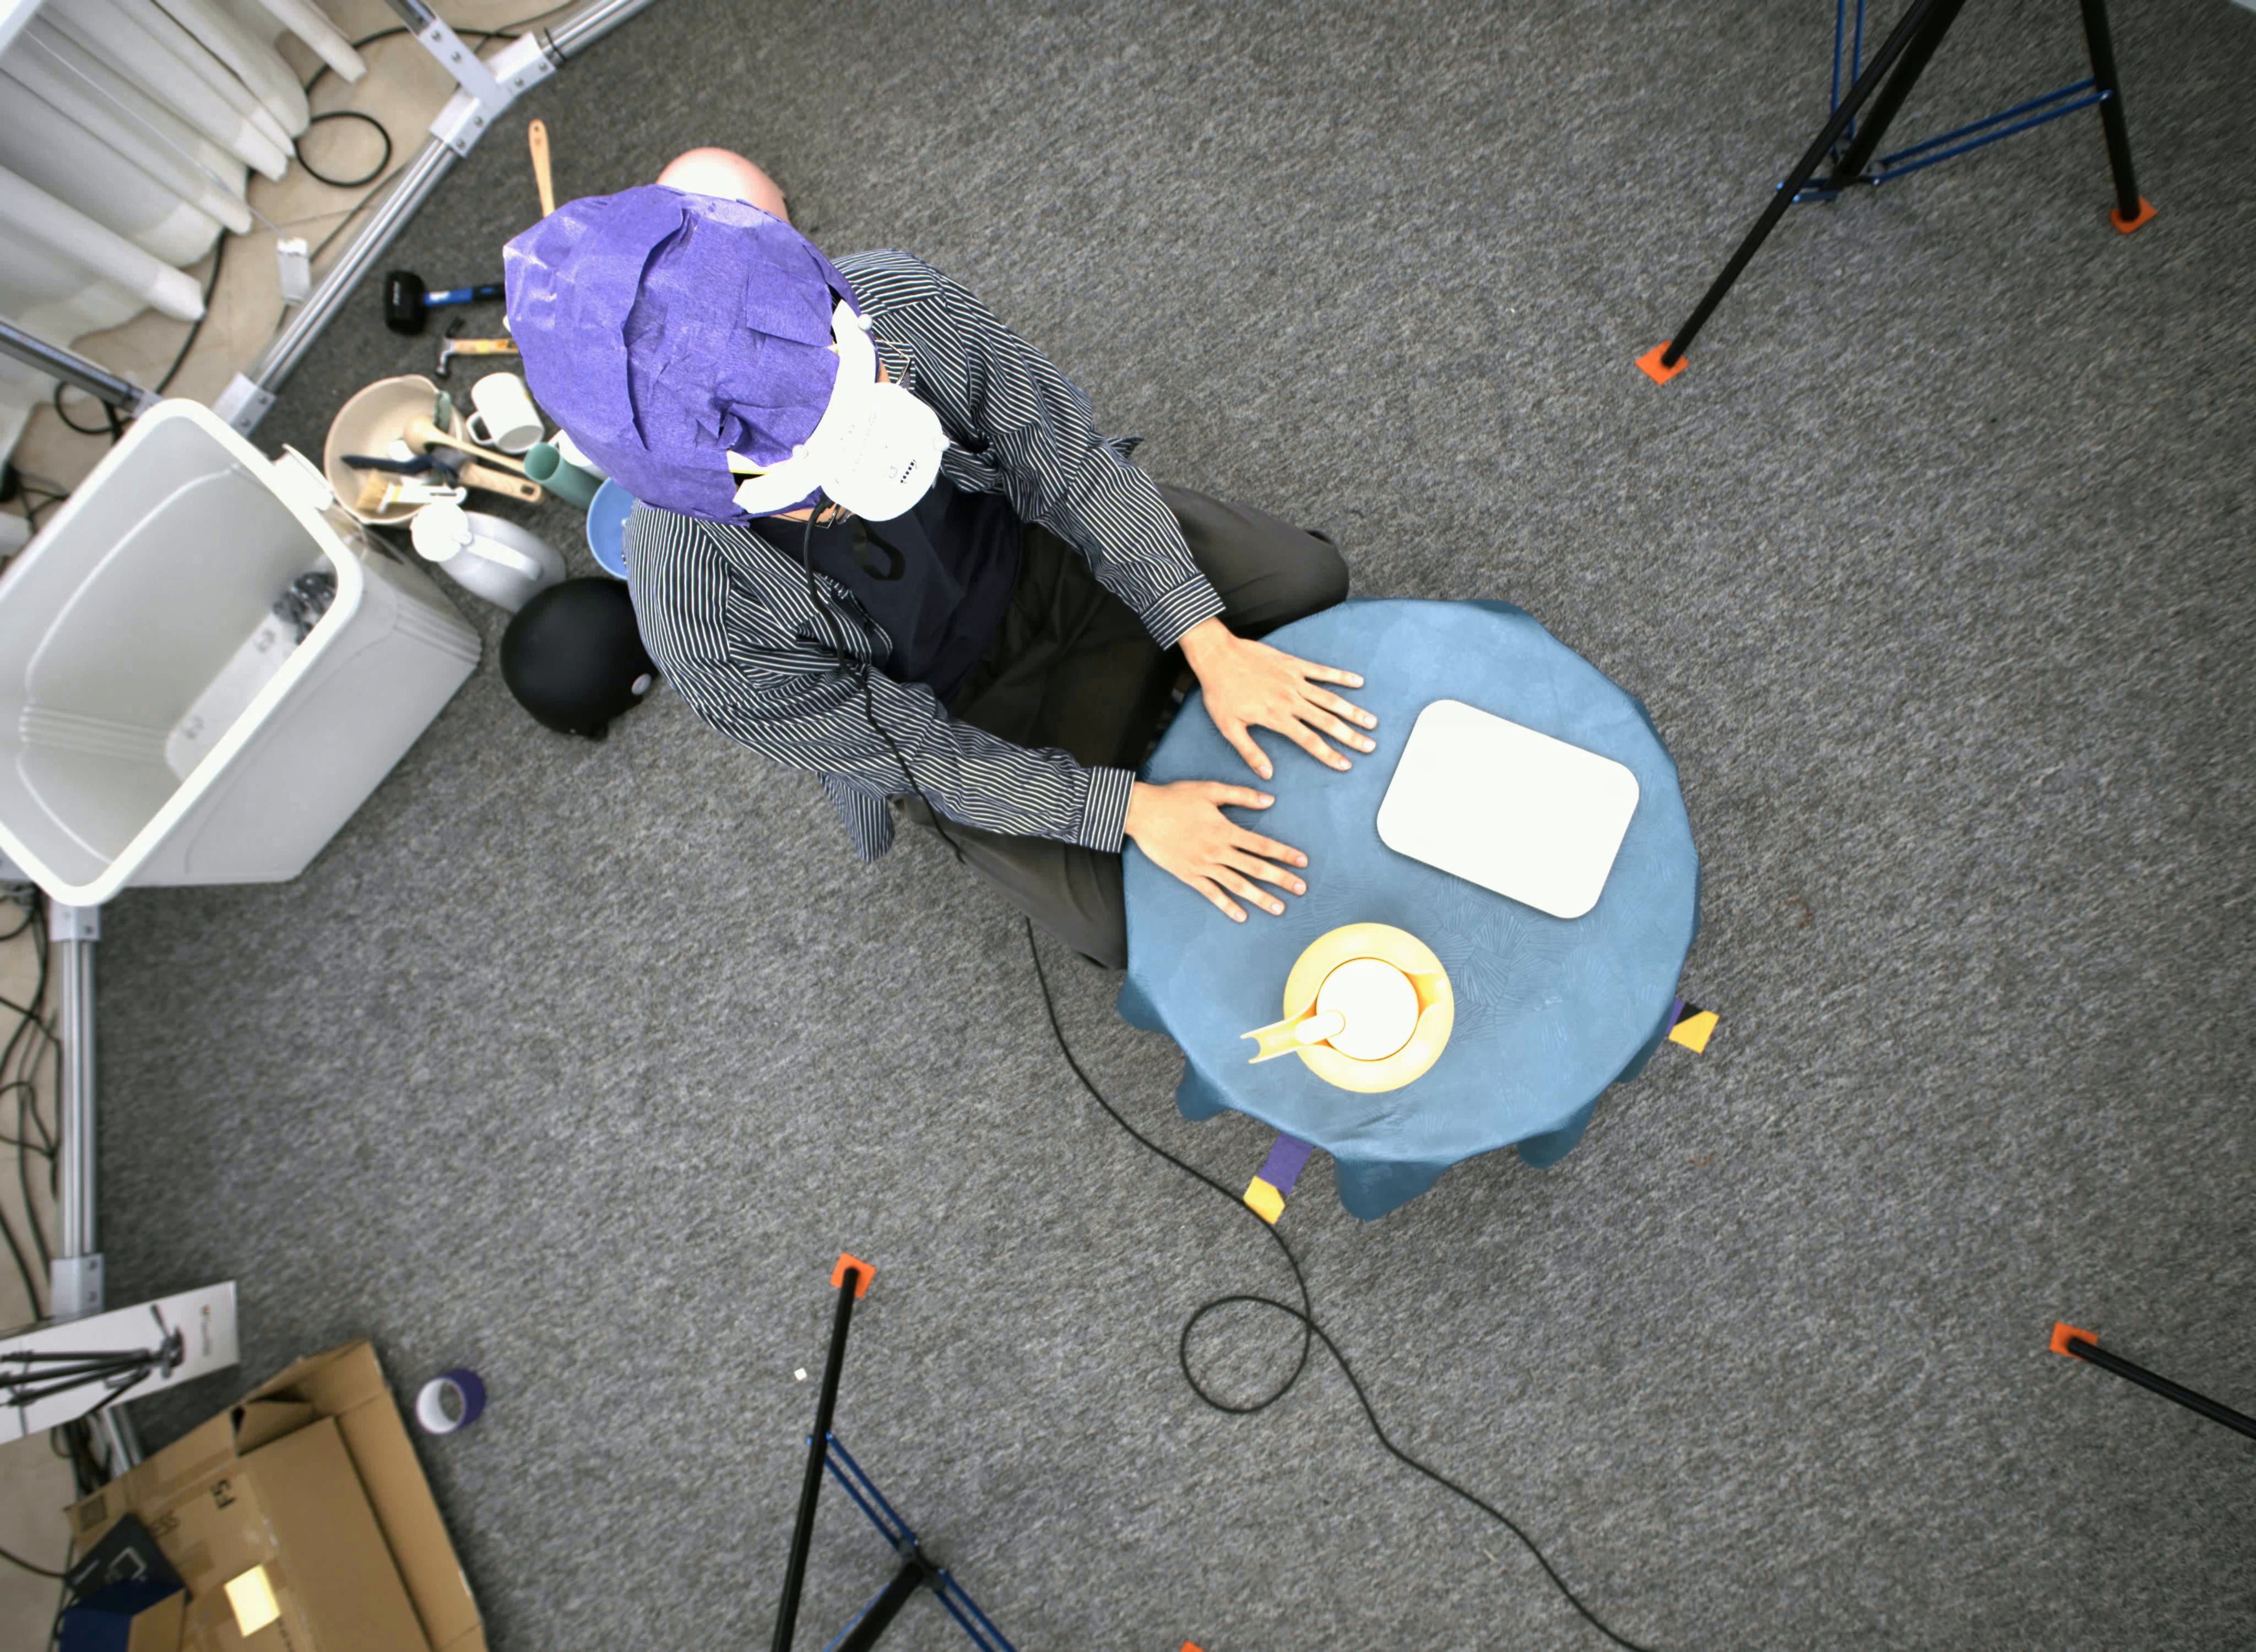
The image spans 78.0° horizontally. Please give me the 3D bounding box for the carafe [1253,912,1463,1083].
[{"bbox_3d":[0.218,0.168,1.322,0.203,0.261,0.162,-23,81,7],"label":"carafe"}]

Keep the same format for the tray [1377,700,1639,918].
[{"bbox_3d":[0.391,-0.021,1.422,0.239,0.017,0.171,23,91,11],"label":"tray"}]
